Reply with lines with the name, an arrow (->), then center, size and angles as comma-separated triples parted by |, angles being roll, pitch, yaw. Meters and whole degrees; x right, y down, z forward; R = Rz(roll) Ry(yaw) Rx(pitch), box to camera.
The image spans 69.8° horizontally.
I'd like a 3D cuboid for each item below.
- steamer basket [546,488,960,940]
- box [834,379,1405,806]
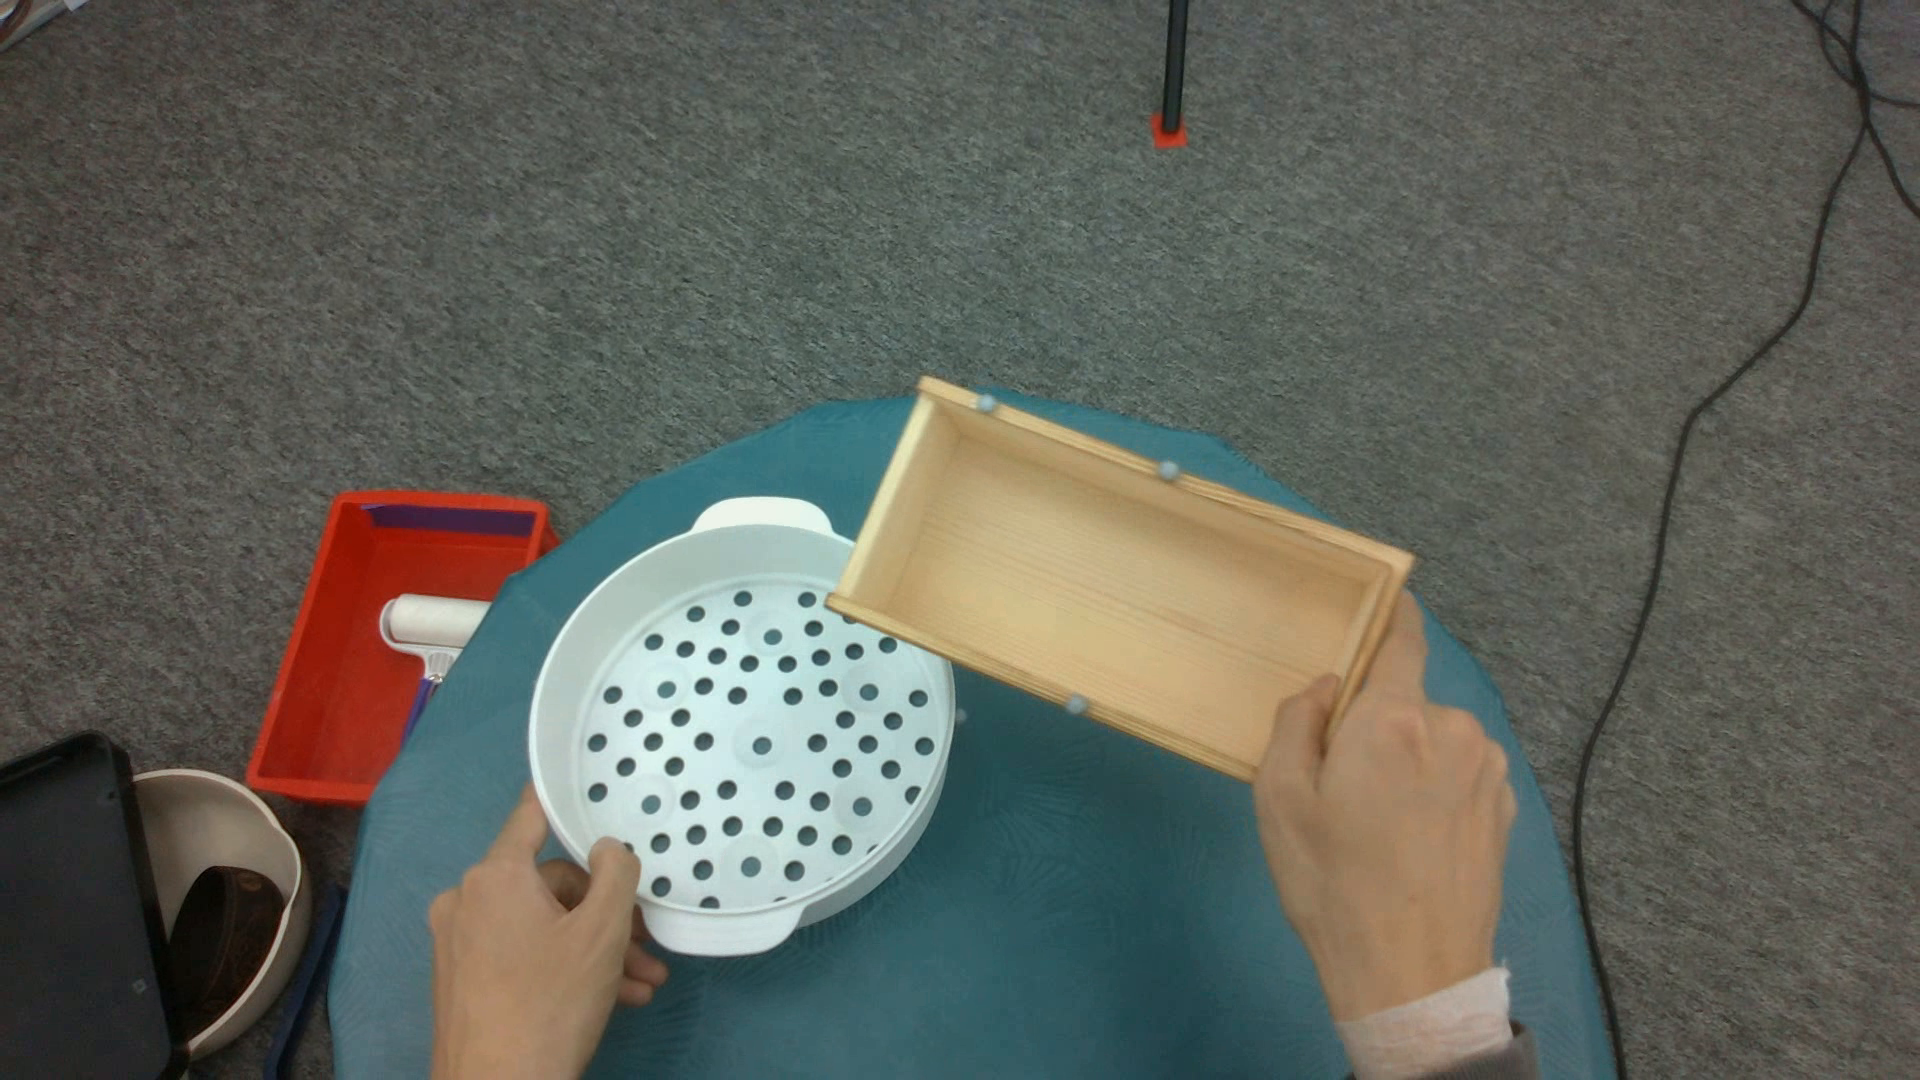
steamer basket -> -0.100, 0.088, 0.698 | 0.202, 0.069, 0.231 | 1, 65, 1
box -> 0.068, 0.022, 0.597 | 0.211, 0.080, 0.107 | 21, 87, 13
